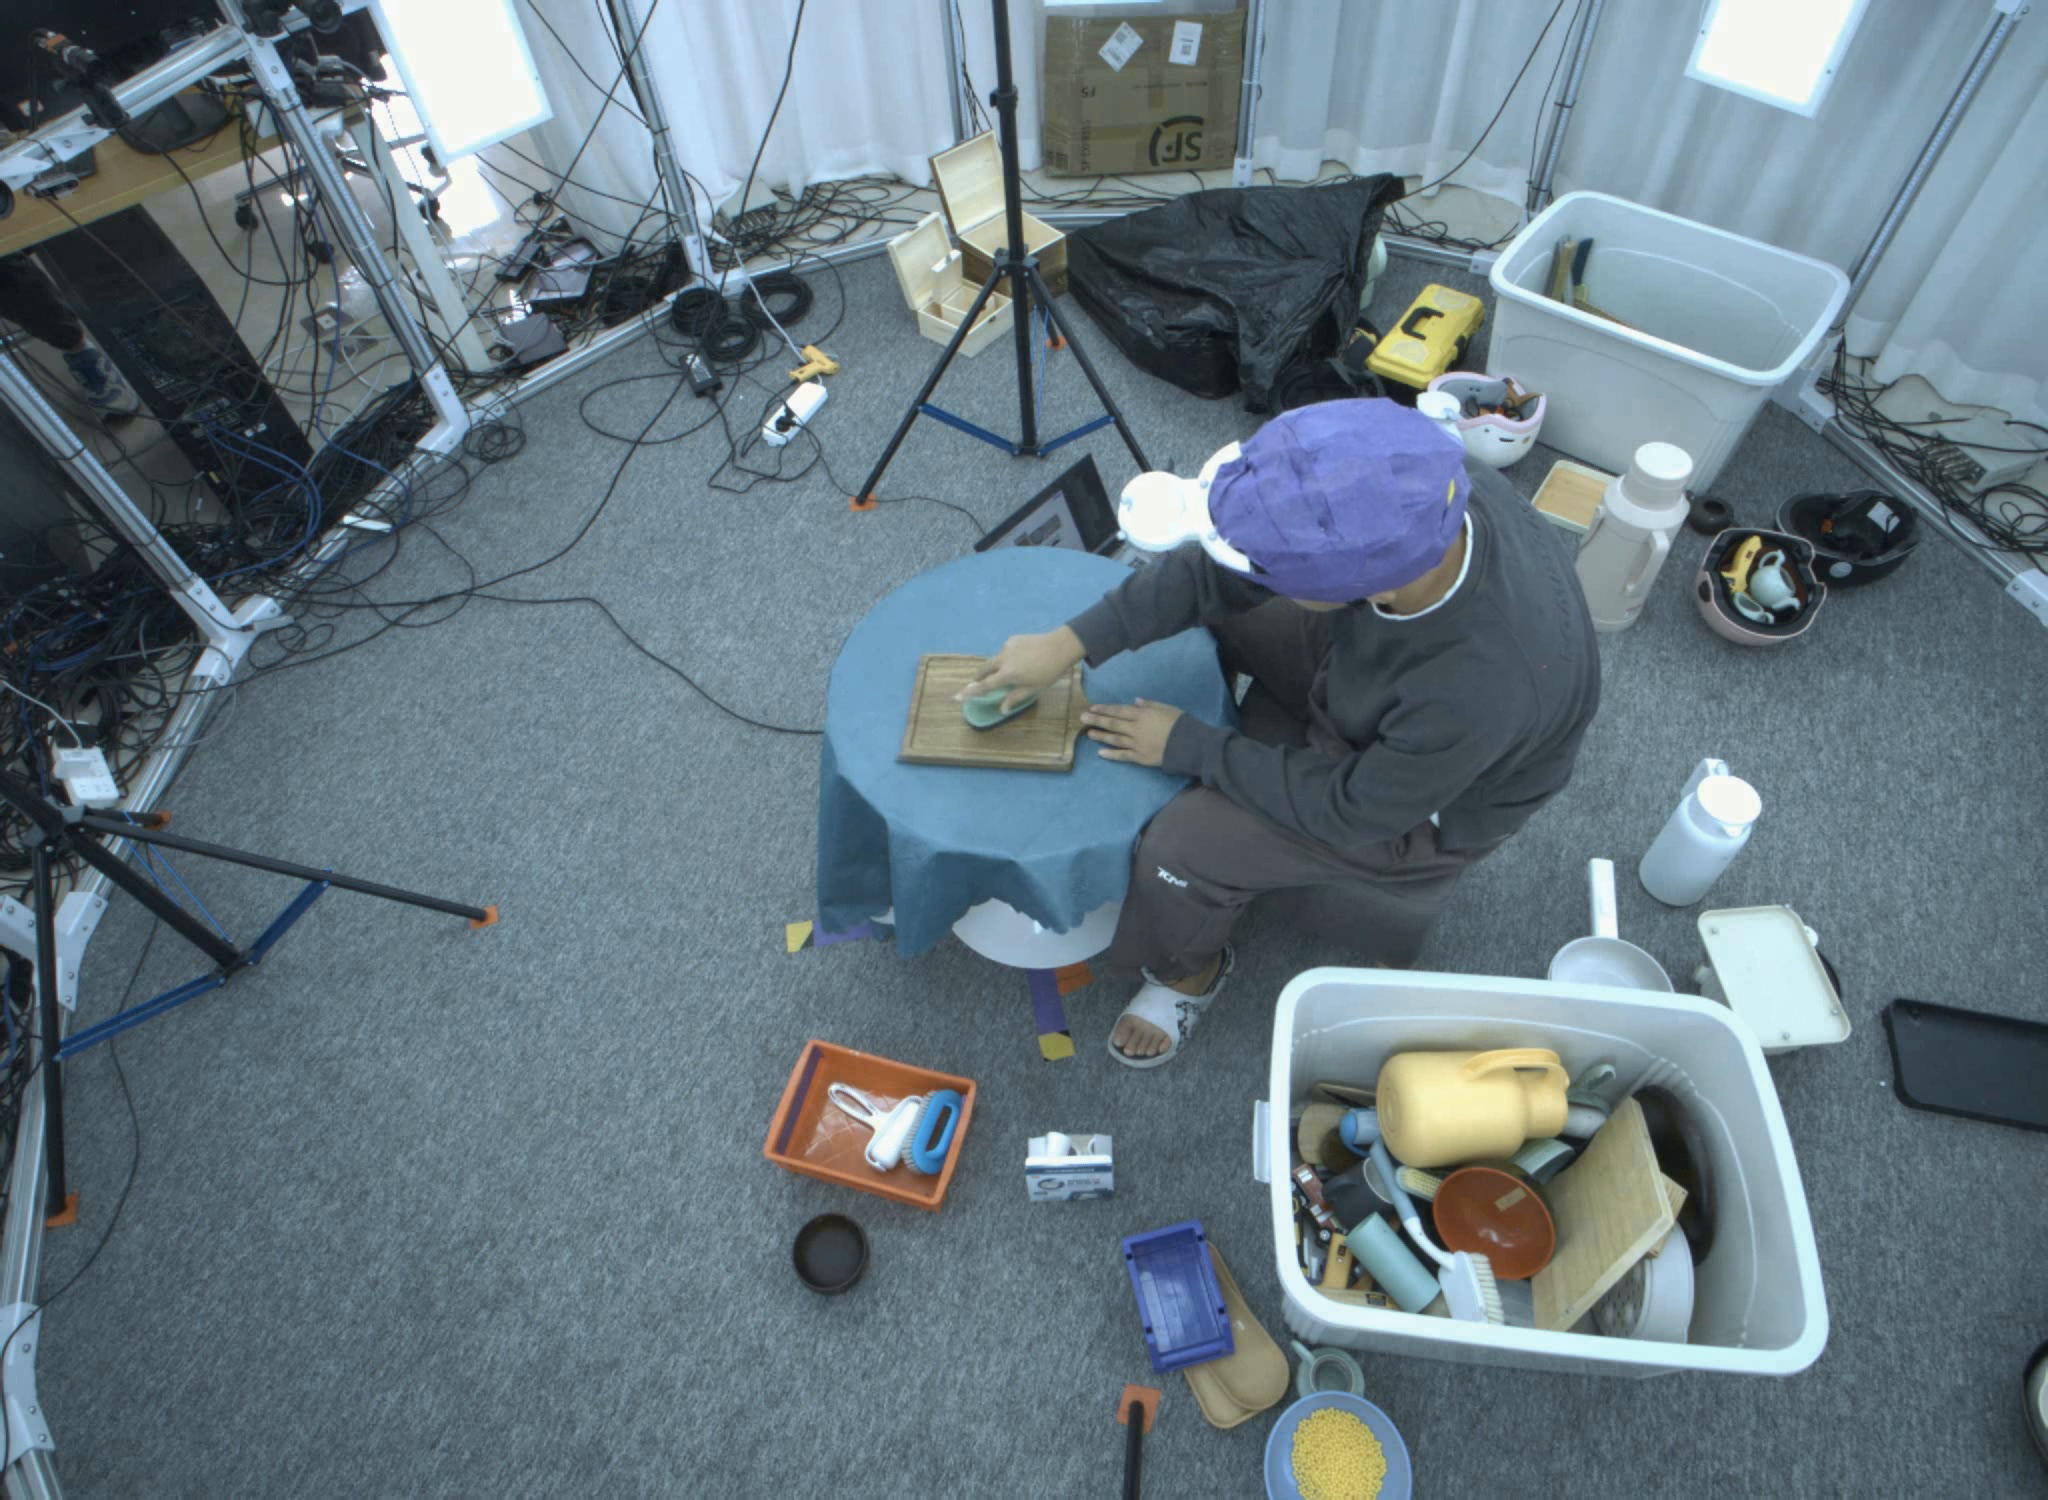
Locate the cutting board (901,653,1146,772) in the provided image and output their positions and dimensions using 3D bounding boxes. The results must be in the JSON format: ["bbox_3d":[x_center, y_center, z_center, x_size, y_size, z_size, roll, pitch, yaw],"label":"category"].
[{"bbox_3d":[0.004,-0.056,1.814,0.351,0.023,0.199,4,55,4],"label":"cutting board"}]

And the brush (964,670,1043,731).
[{"bbox_3d":[-0.032,-0.074,1.792,0.125,0.076,0.058,-16,56,-29],"label":"brush"}]
